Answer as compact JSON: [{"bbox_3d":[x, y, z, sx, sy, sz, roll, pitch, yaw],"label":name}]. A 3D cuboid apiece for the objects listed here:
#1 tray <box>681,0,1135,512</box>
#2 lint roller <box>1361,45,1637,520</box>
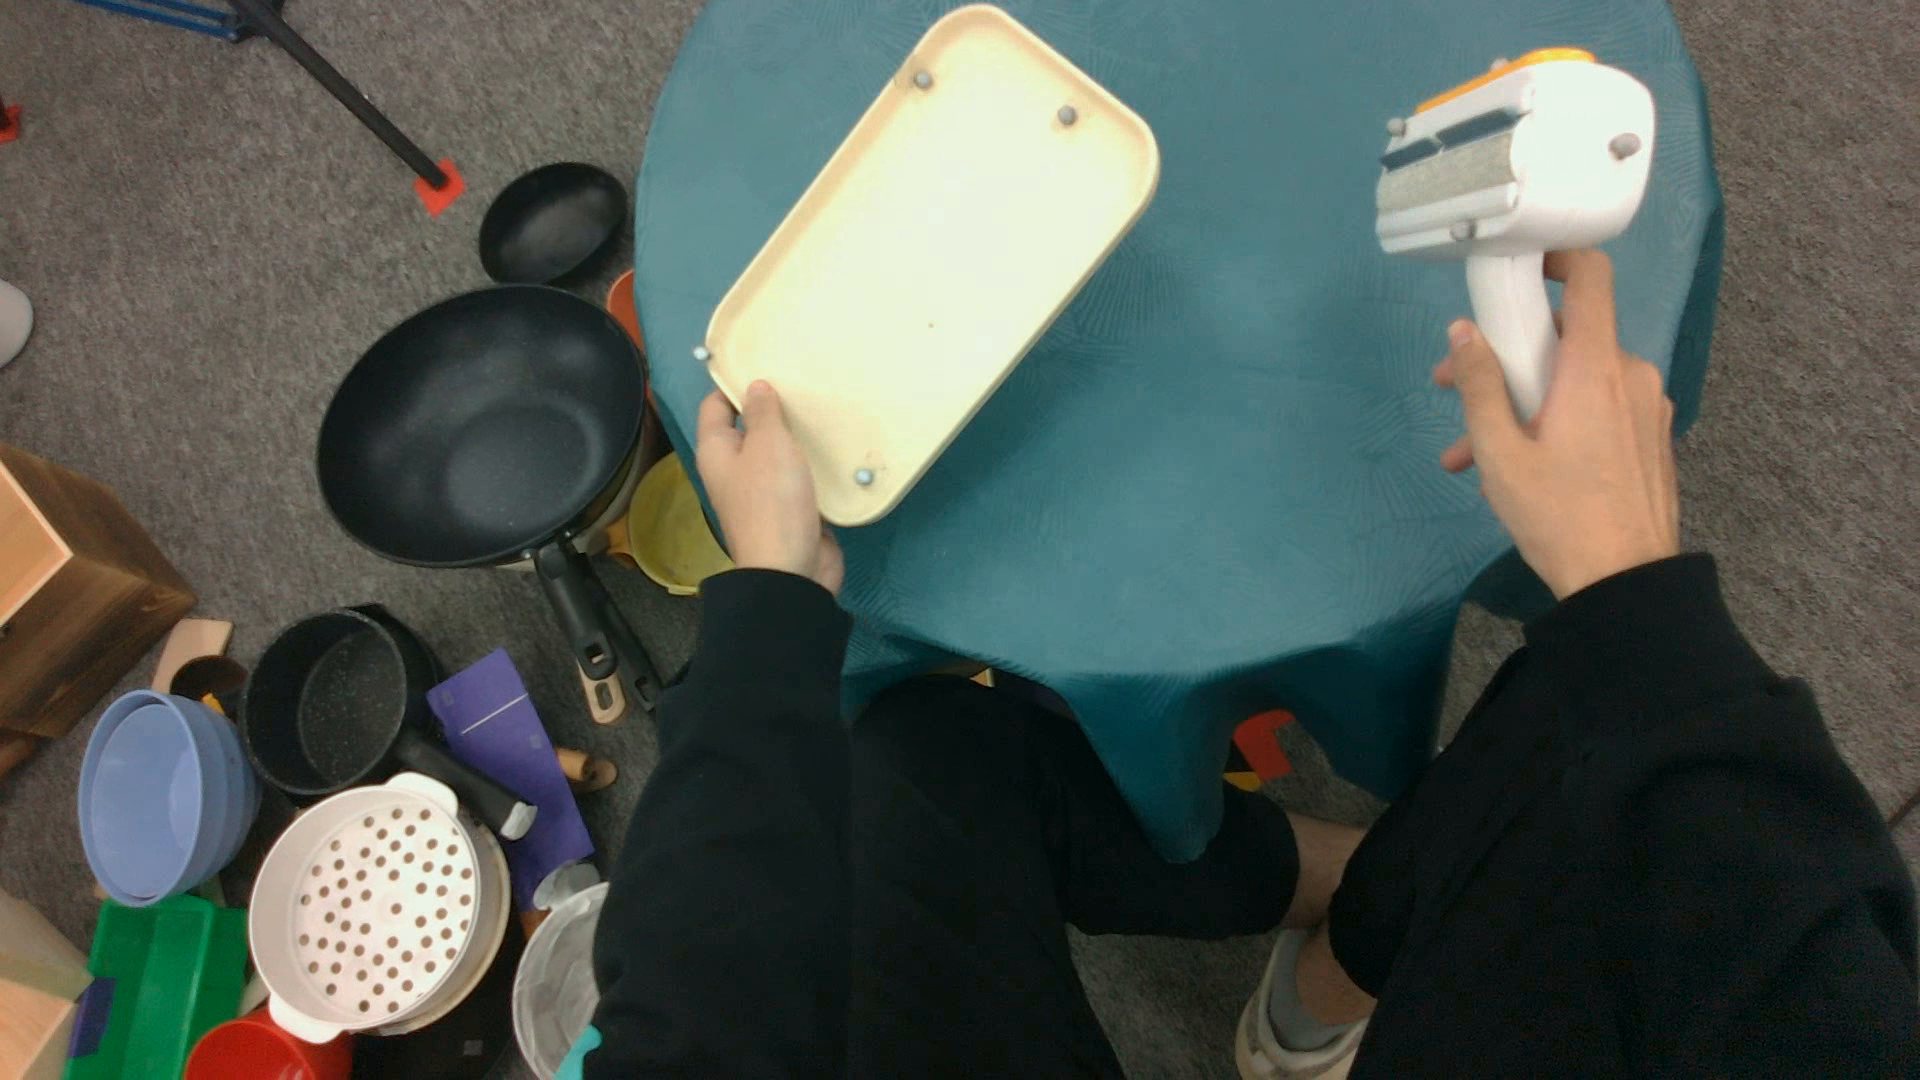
[{"bbox_3d":[-0.033,-0.143,0.678,0.239,0.017,0.171,-48,60,15],"label":"tray"},{"bbox_3d":[0.224,-0.100,0.578,0.074,0.193,0.192,-6,103,-2],"label":"lint roller"}]
